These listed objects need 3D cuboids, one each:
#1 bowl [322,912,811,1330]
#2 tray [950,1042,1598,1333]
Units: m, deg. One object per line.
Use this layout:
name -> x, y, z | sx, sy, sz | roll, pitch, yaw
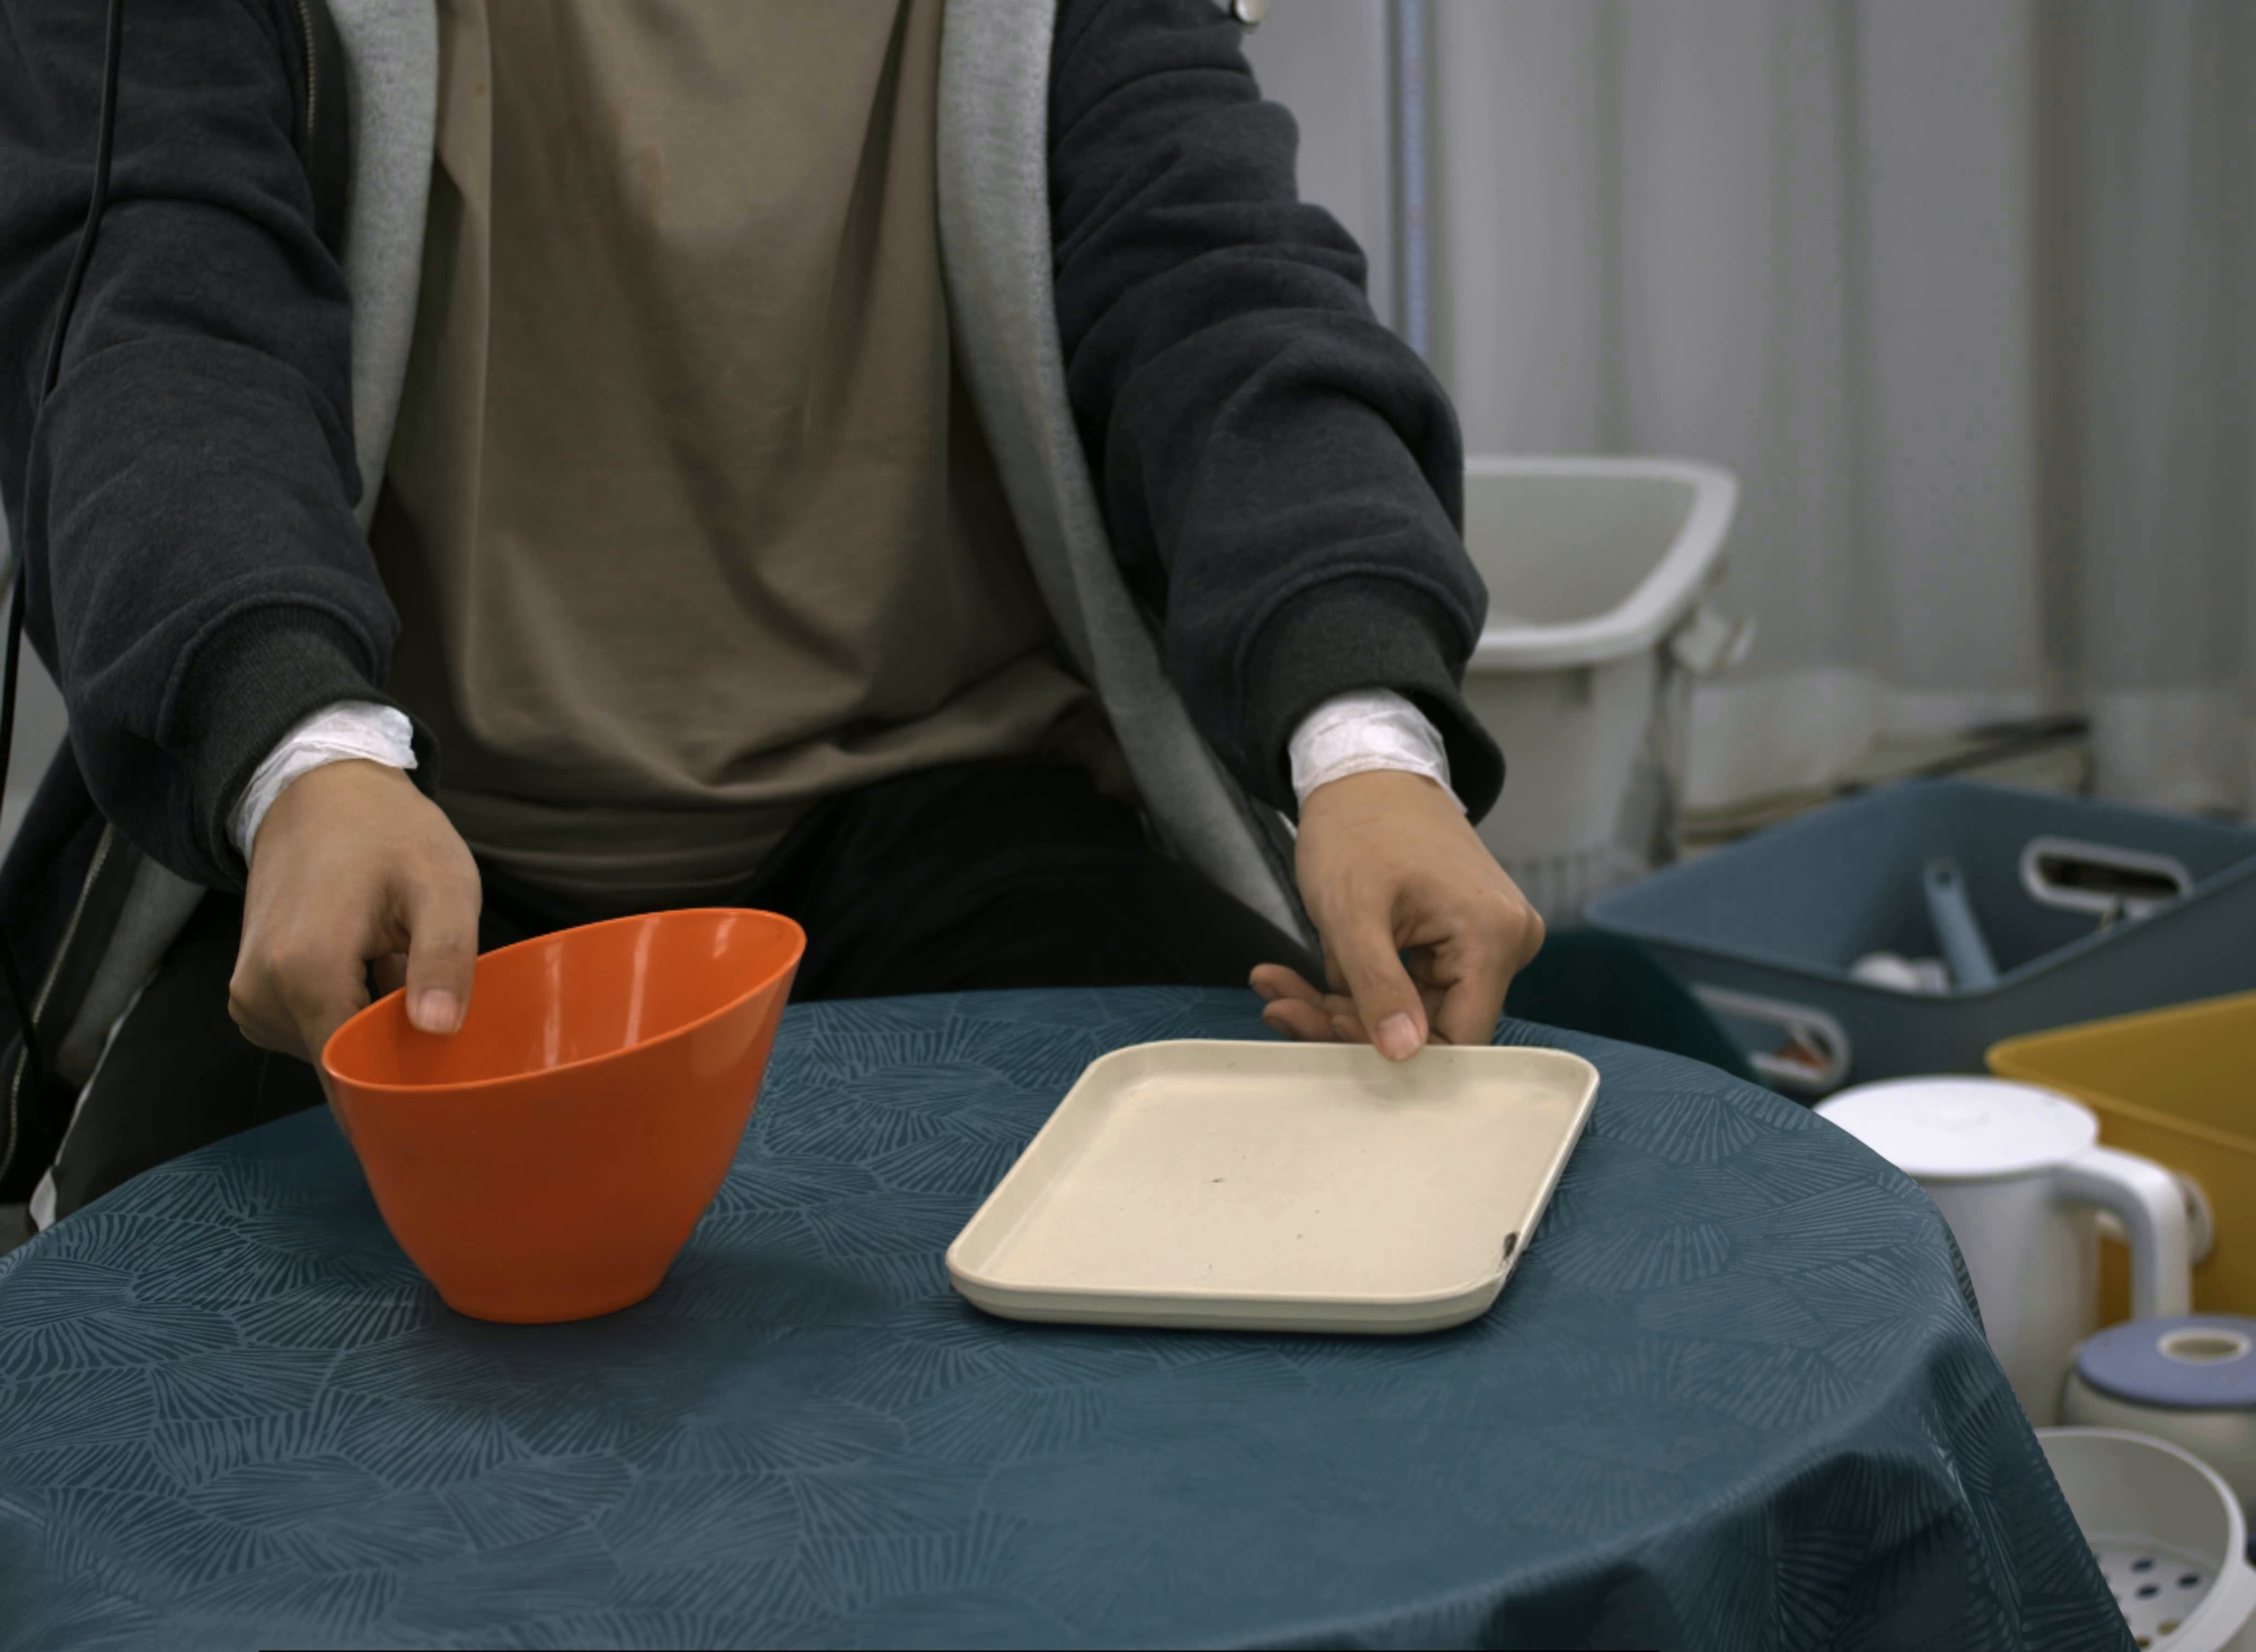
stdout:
bowl -> -0.166, 0.091, 1.643 | 0.147, 0.104, 0.149 | -2, 16, 0
tray -> 0.049, 0.110, 1.688 | 0.171, 0.017, 0.241 | 0, 15, 14
